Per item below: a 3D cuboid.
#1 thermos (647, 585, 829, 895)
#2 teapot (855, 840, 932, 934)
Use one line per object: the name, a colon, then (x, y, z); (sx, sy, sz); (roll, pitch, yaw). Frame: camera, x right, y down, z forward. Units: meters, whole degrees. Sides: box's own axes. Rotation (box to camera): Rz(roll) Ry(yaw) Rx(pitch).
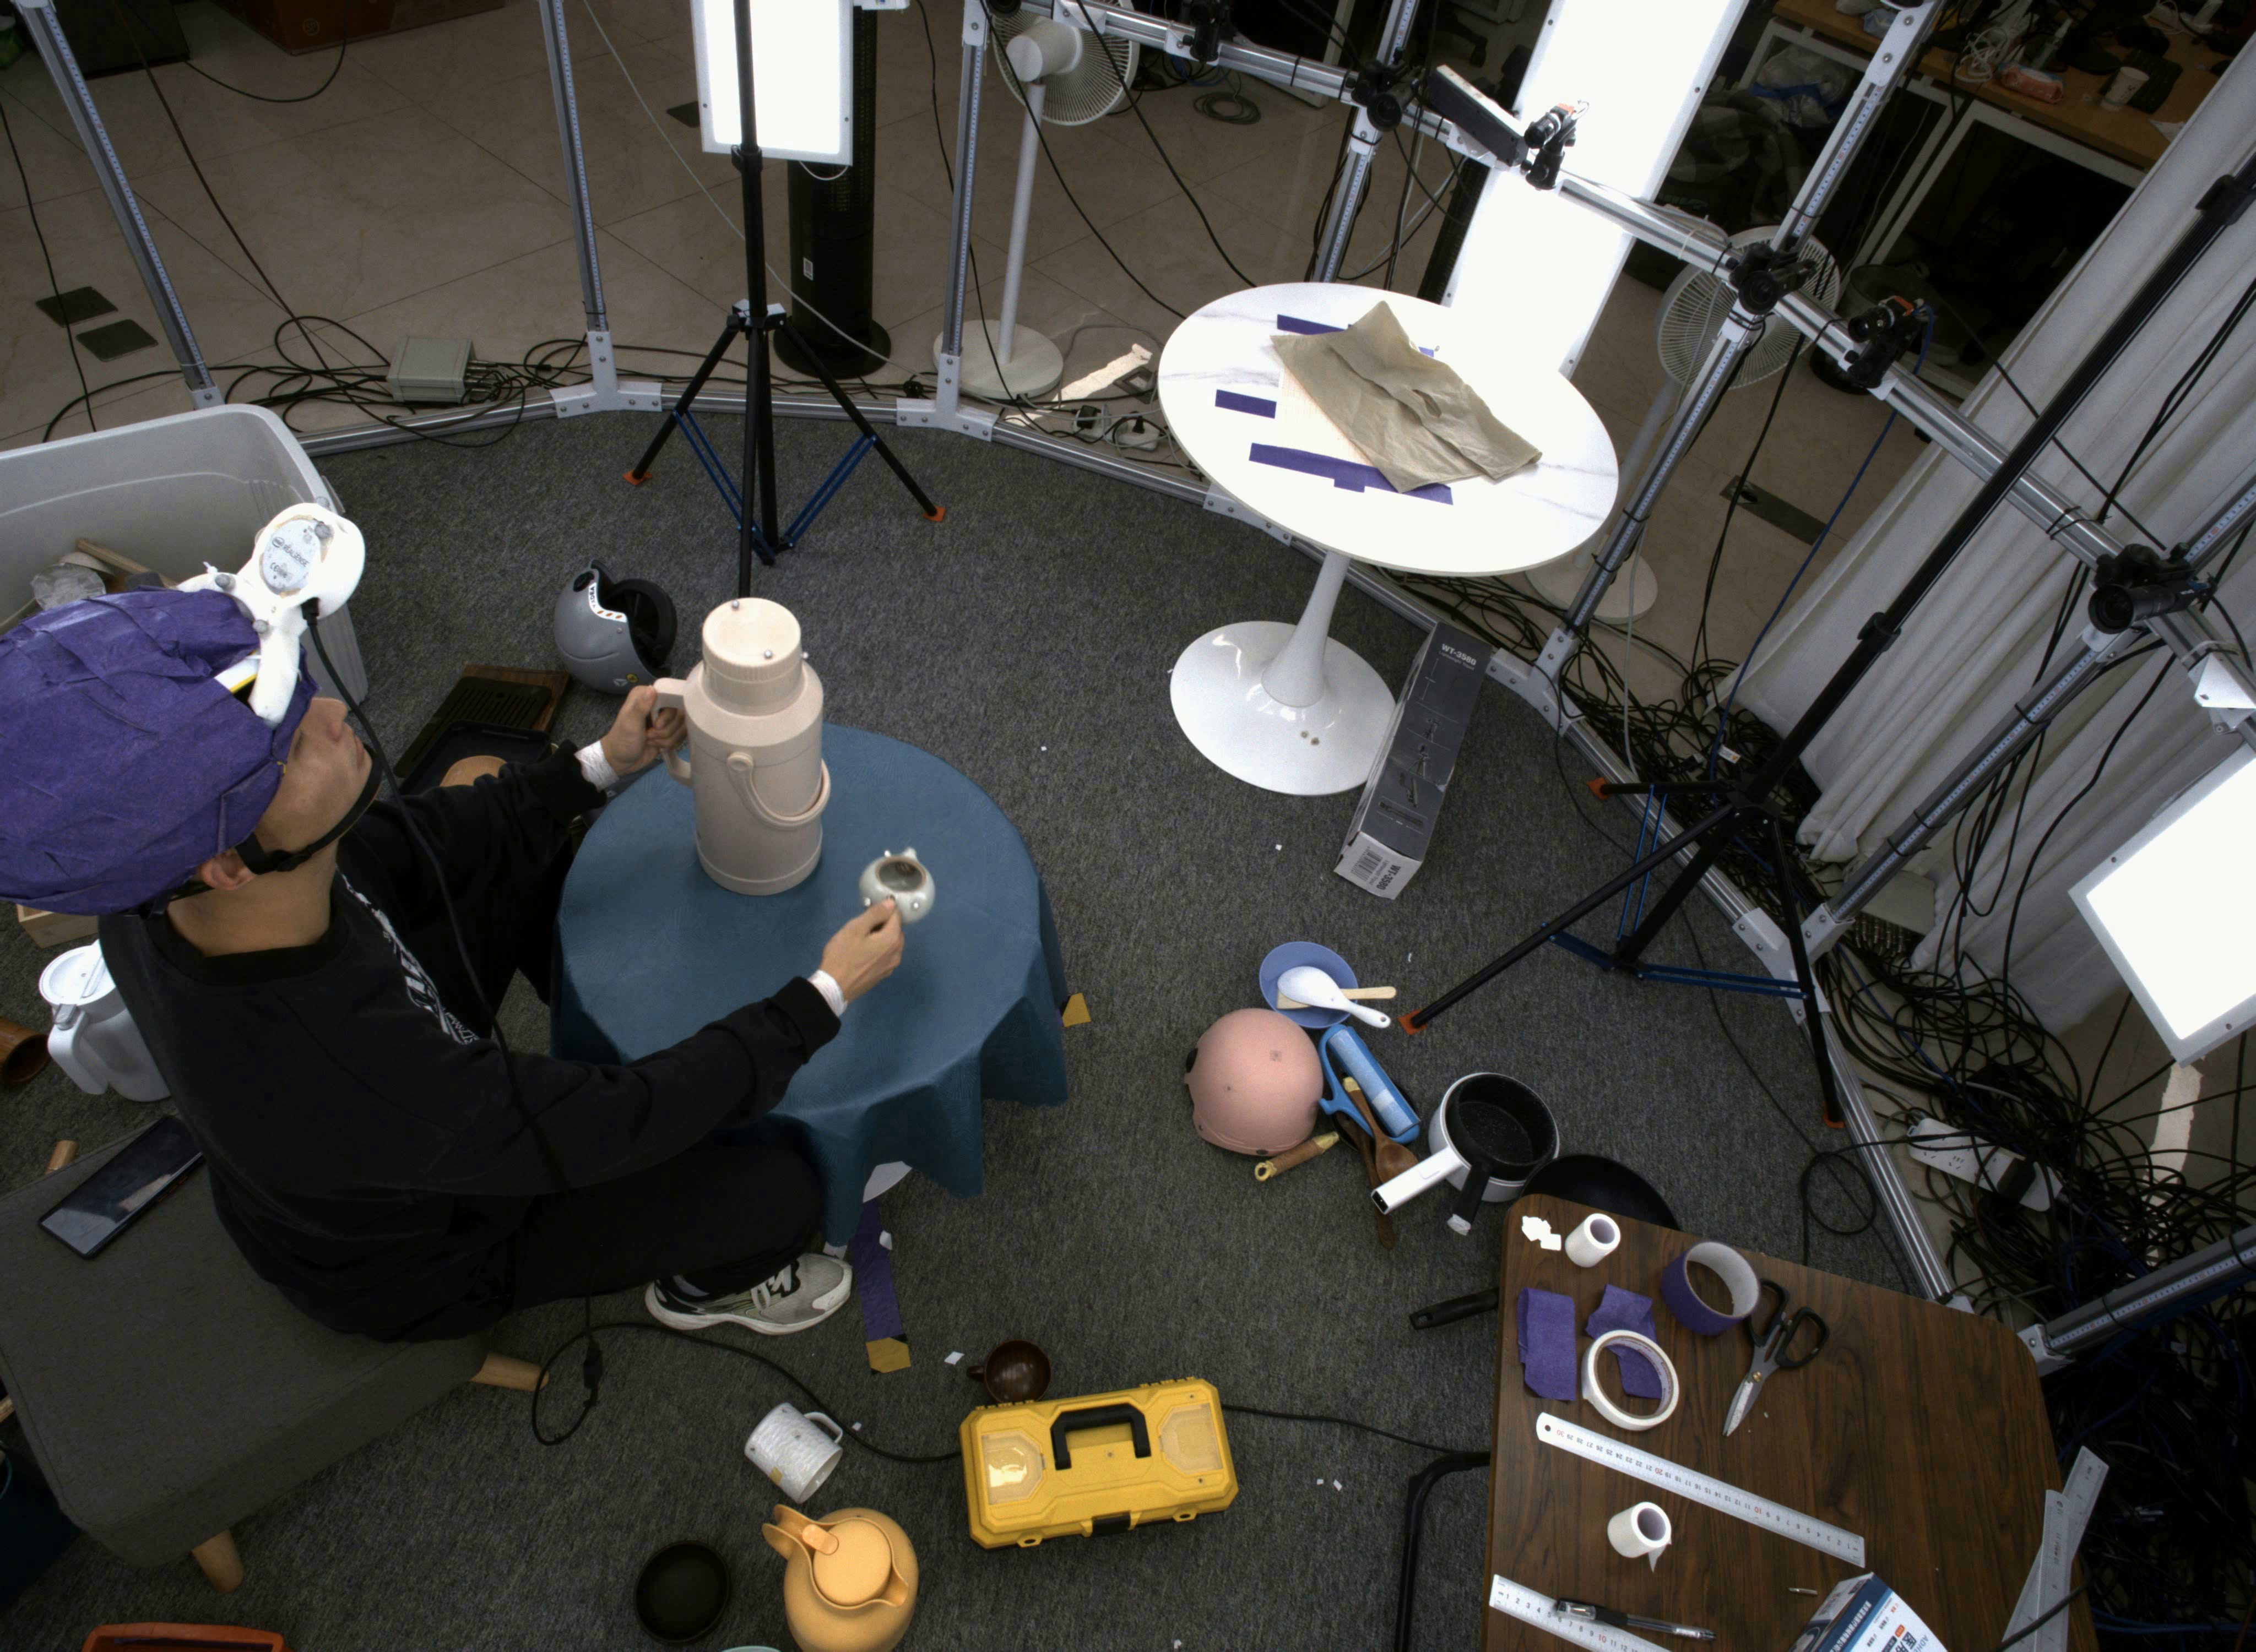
thermos: (-0.458, -0.100, 1.527); (0.207, 0.414, 0.172); (6, 53, -10)
teapot: (-0.278, 0.074, 1.531); (0.092, 0.060, 0.125); (18, 38, -9)
